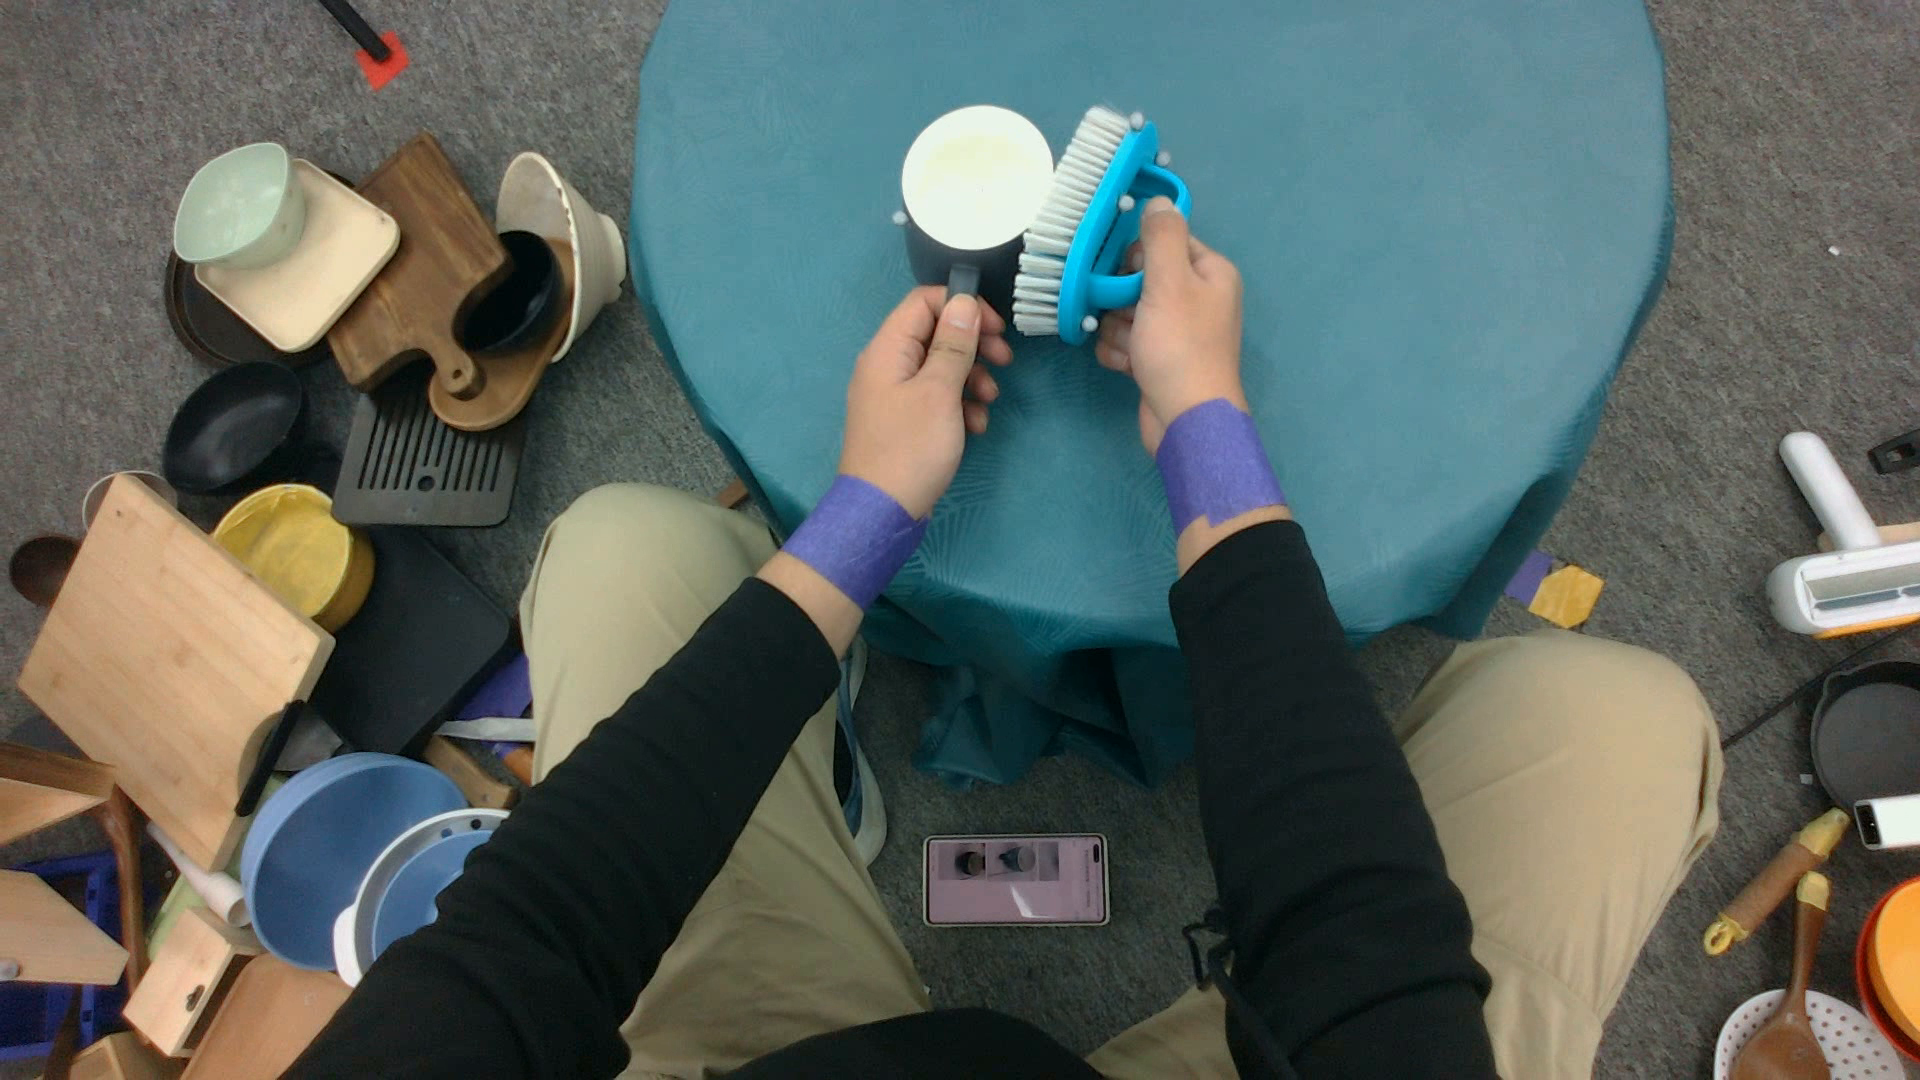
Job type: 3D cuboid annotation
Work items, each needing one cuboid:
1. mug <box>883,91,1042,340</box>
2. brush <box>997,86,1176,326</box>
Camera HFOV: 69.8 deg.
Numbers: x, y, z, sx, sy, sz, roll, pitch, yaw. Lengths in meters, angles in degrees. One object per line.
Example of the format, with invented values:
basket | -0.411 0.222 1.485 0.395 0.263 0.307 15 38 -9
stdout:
mug | 0.000 -0.169 0.743 0.093 0.089 0.123 10 75 8
brush | 0.073 -0.168 0.716 0.064 0.084 0.142 19 58 13
